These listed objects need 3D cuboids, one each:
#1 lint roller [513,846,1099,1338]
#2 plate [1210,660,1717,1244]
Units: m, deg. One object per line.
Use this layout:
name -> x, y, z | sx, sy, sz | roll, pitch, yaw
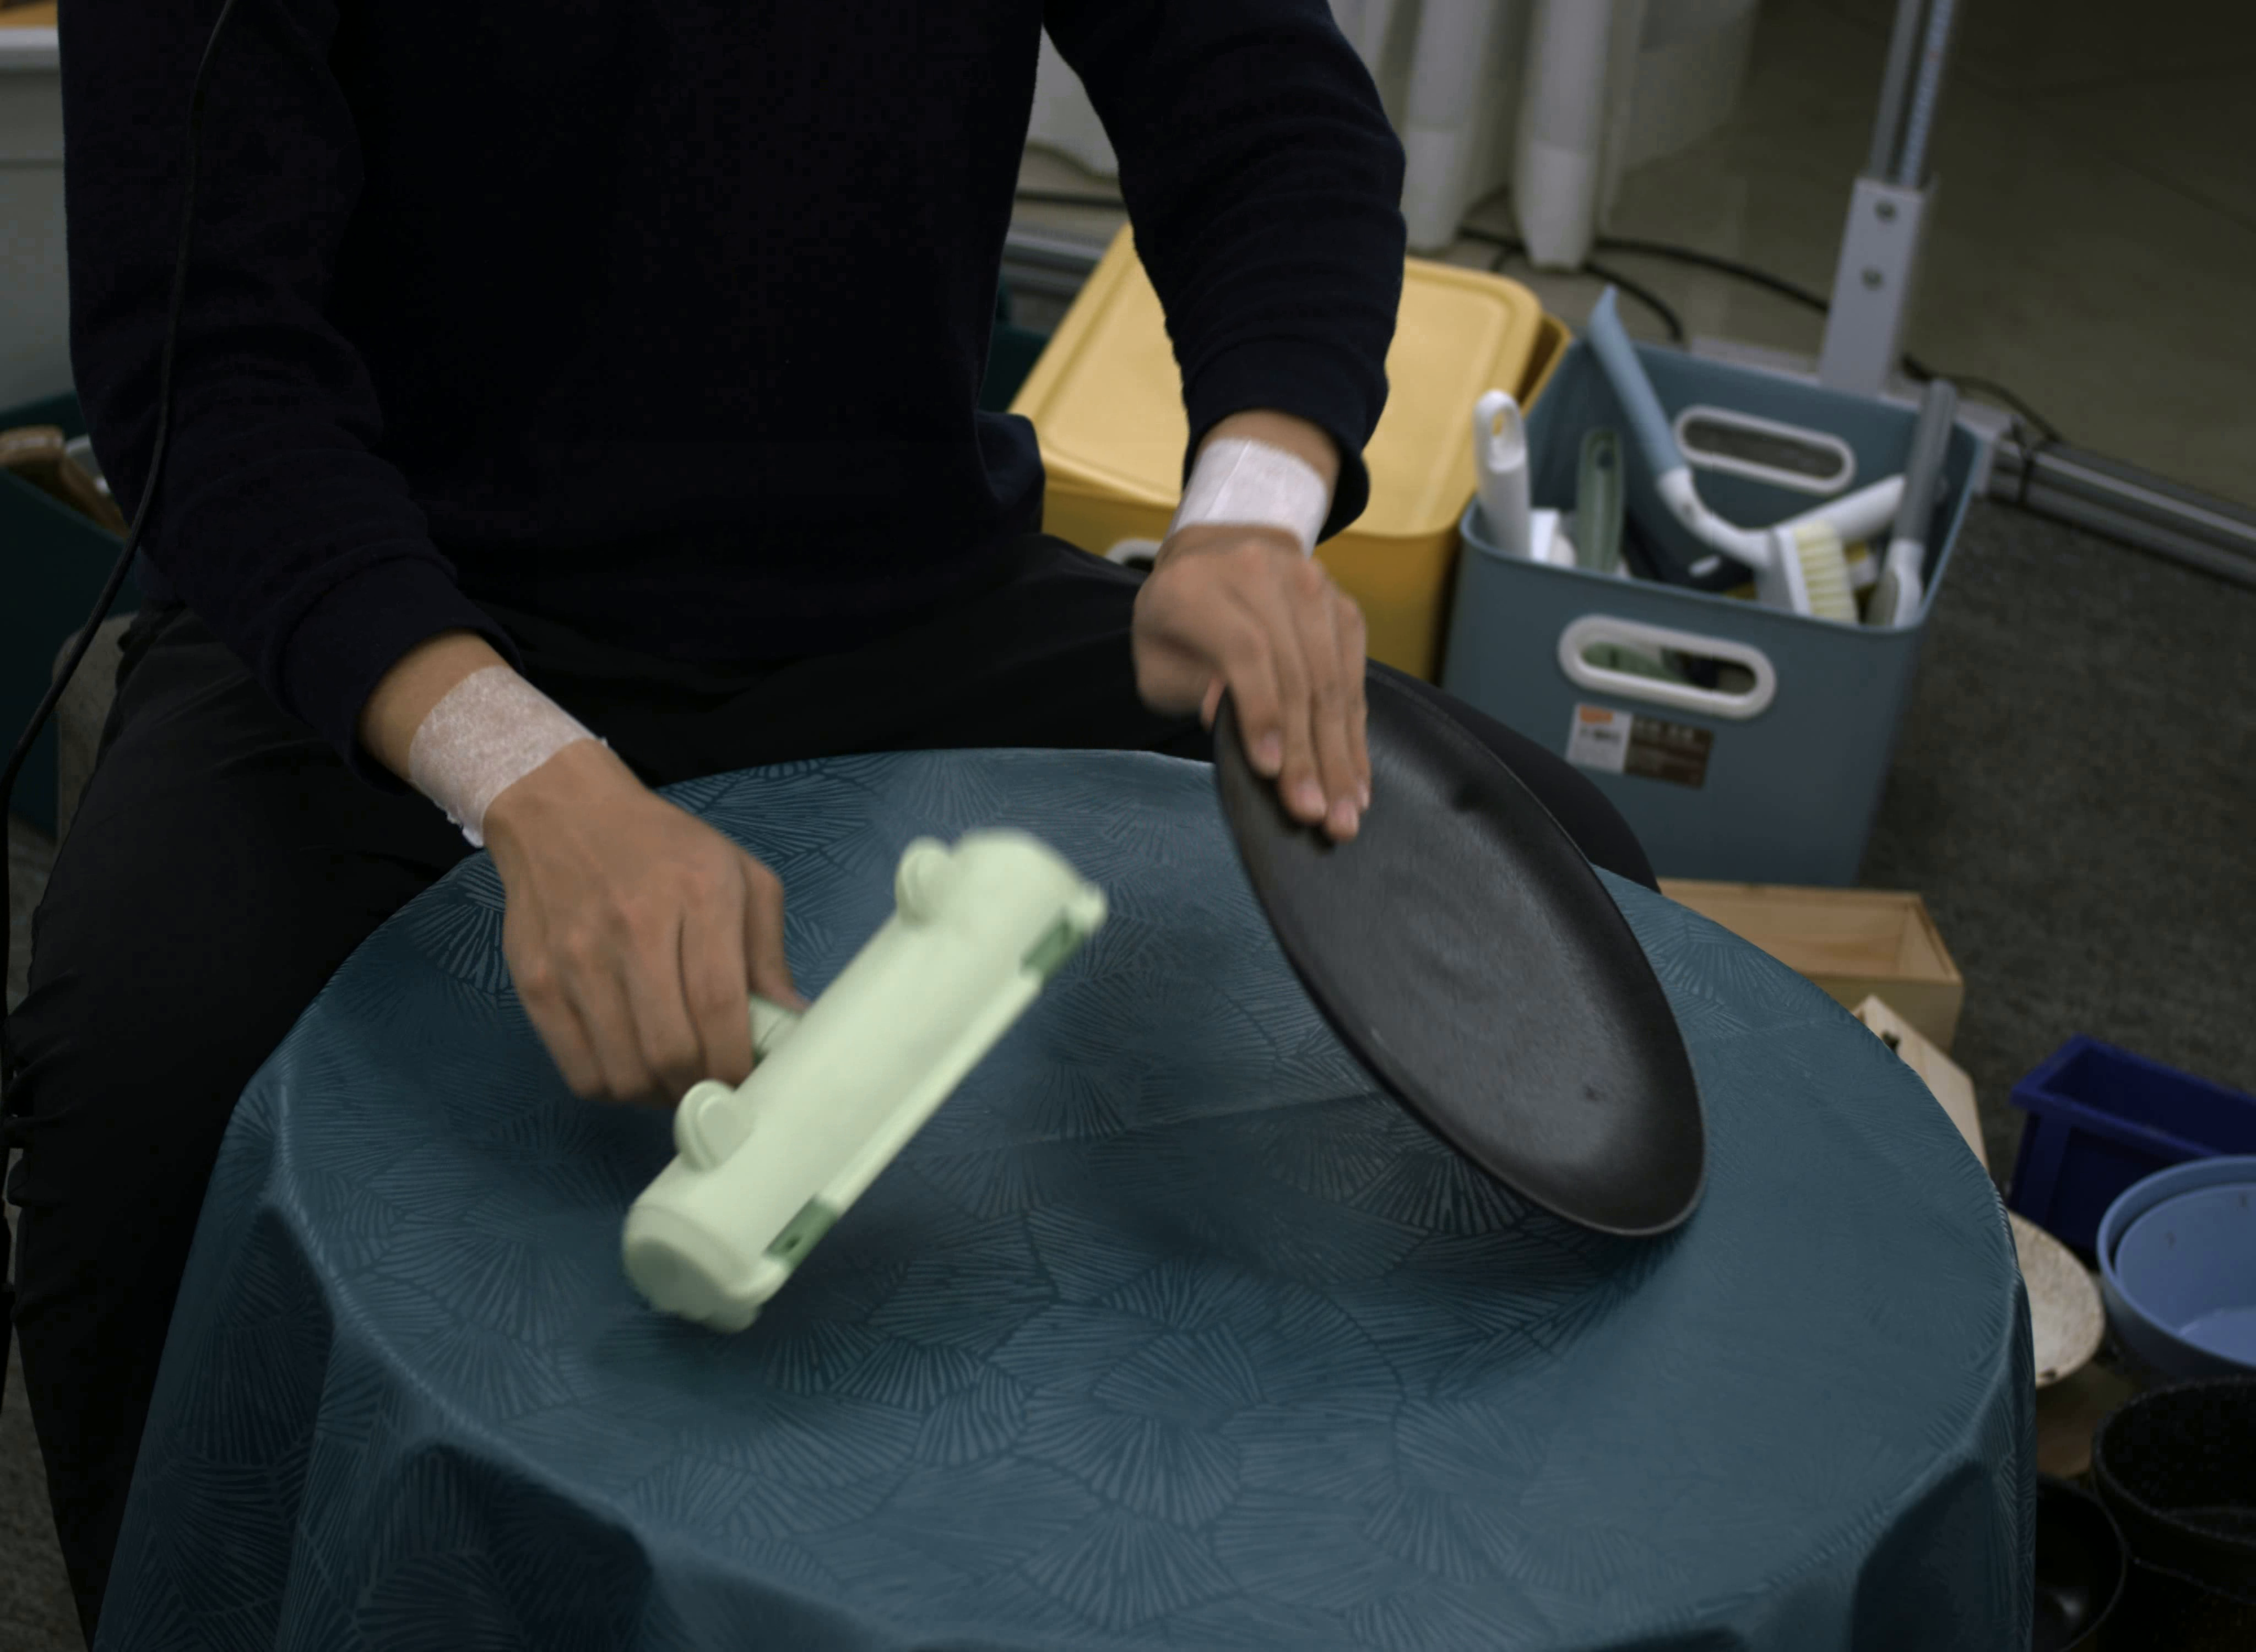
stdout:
lint roller -> -0.135, 0.058, 1.741 | 0.184, 0.081, 0.199 | 25, 54, 28
plate -> 0.111, 0.047, 1.828 | 0.242, 0.023, 0.246 | 36, 29, -24
